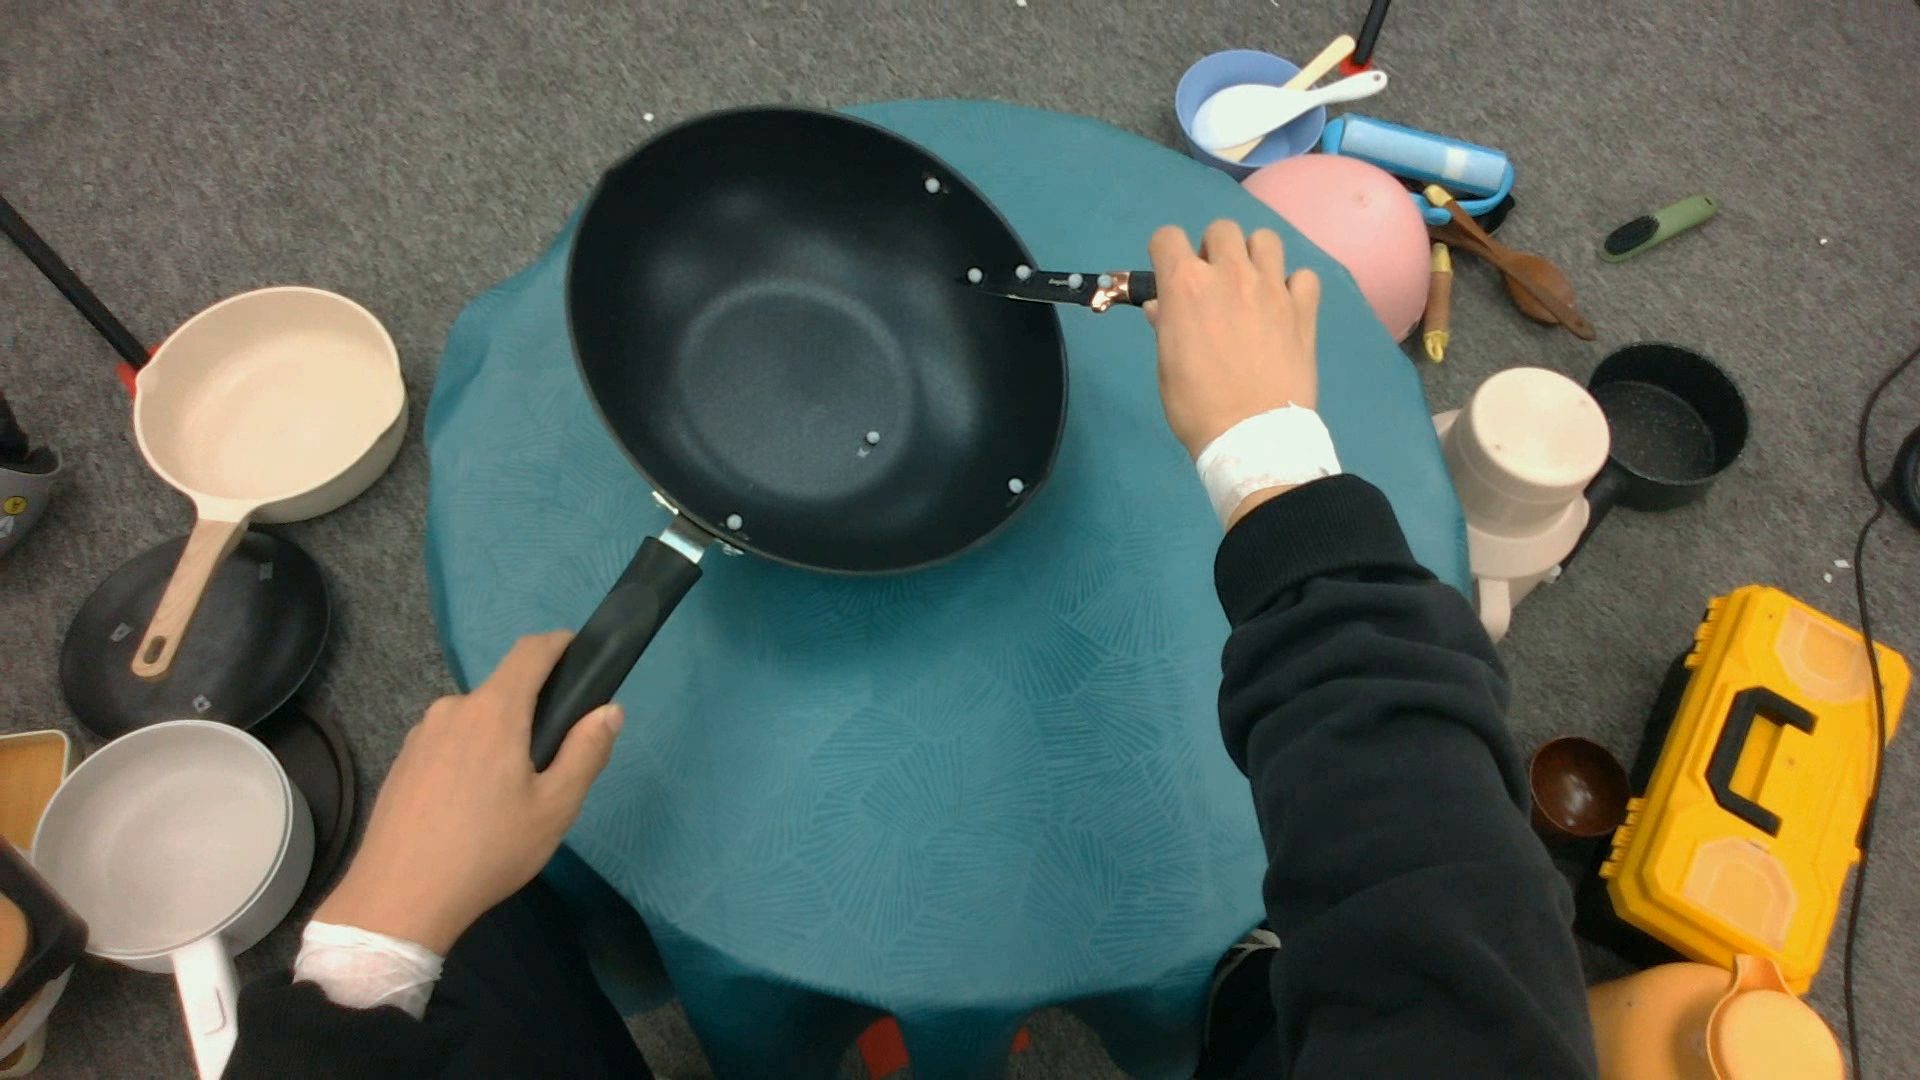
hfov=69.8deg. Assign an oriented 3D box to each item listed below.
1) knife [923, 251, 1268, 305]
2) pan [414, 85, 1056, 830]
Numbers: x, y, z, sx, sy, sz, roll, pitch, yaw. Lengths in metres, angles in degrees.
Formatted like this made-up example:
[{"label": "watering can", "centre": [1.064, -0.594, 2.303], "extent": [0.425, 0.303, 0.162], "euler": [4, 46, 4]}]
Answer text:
[{"label": "knife", "centre": [0.066, -0.146, 0.759], "extent": [0.225, 0.017, 0.026], "euler": [13, 78, 38]}, {"label": "pan", "centre": [-0.130, -0.042, 0.735], "extent": [0.288, 0.086, 0.465], "euler": [35, 62, -9]}]
